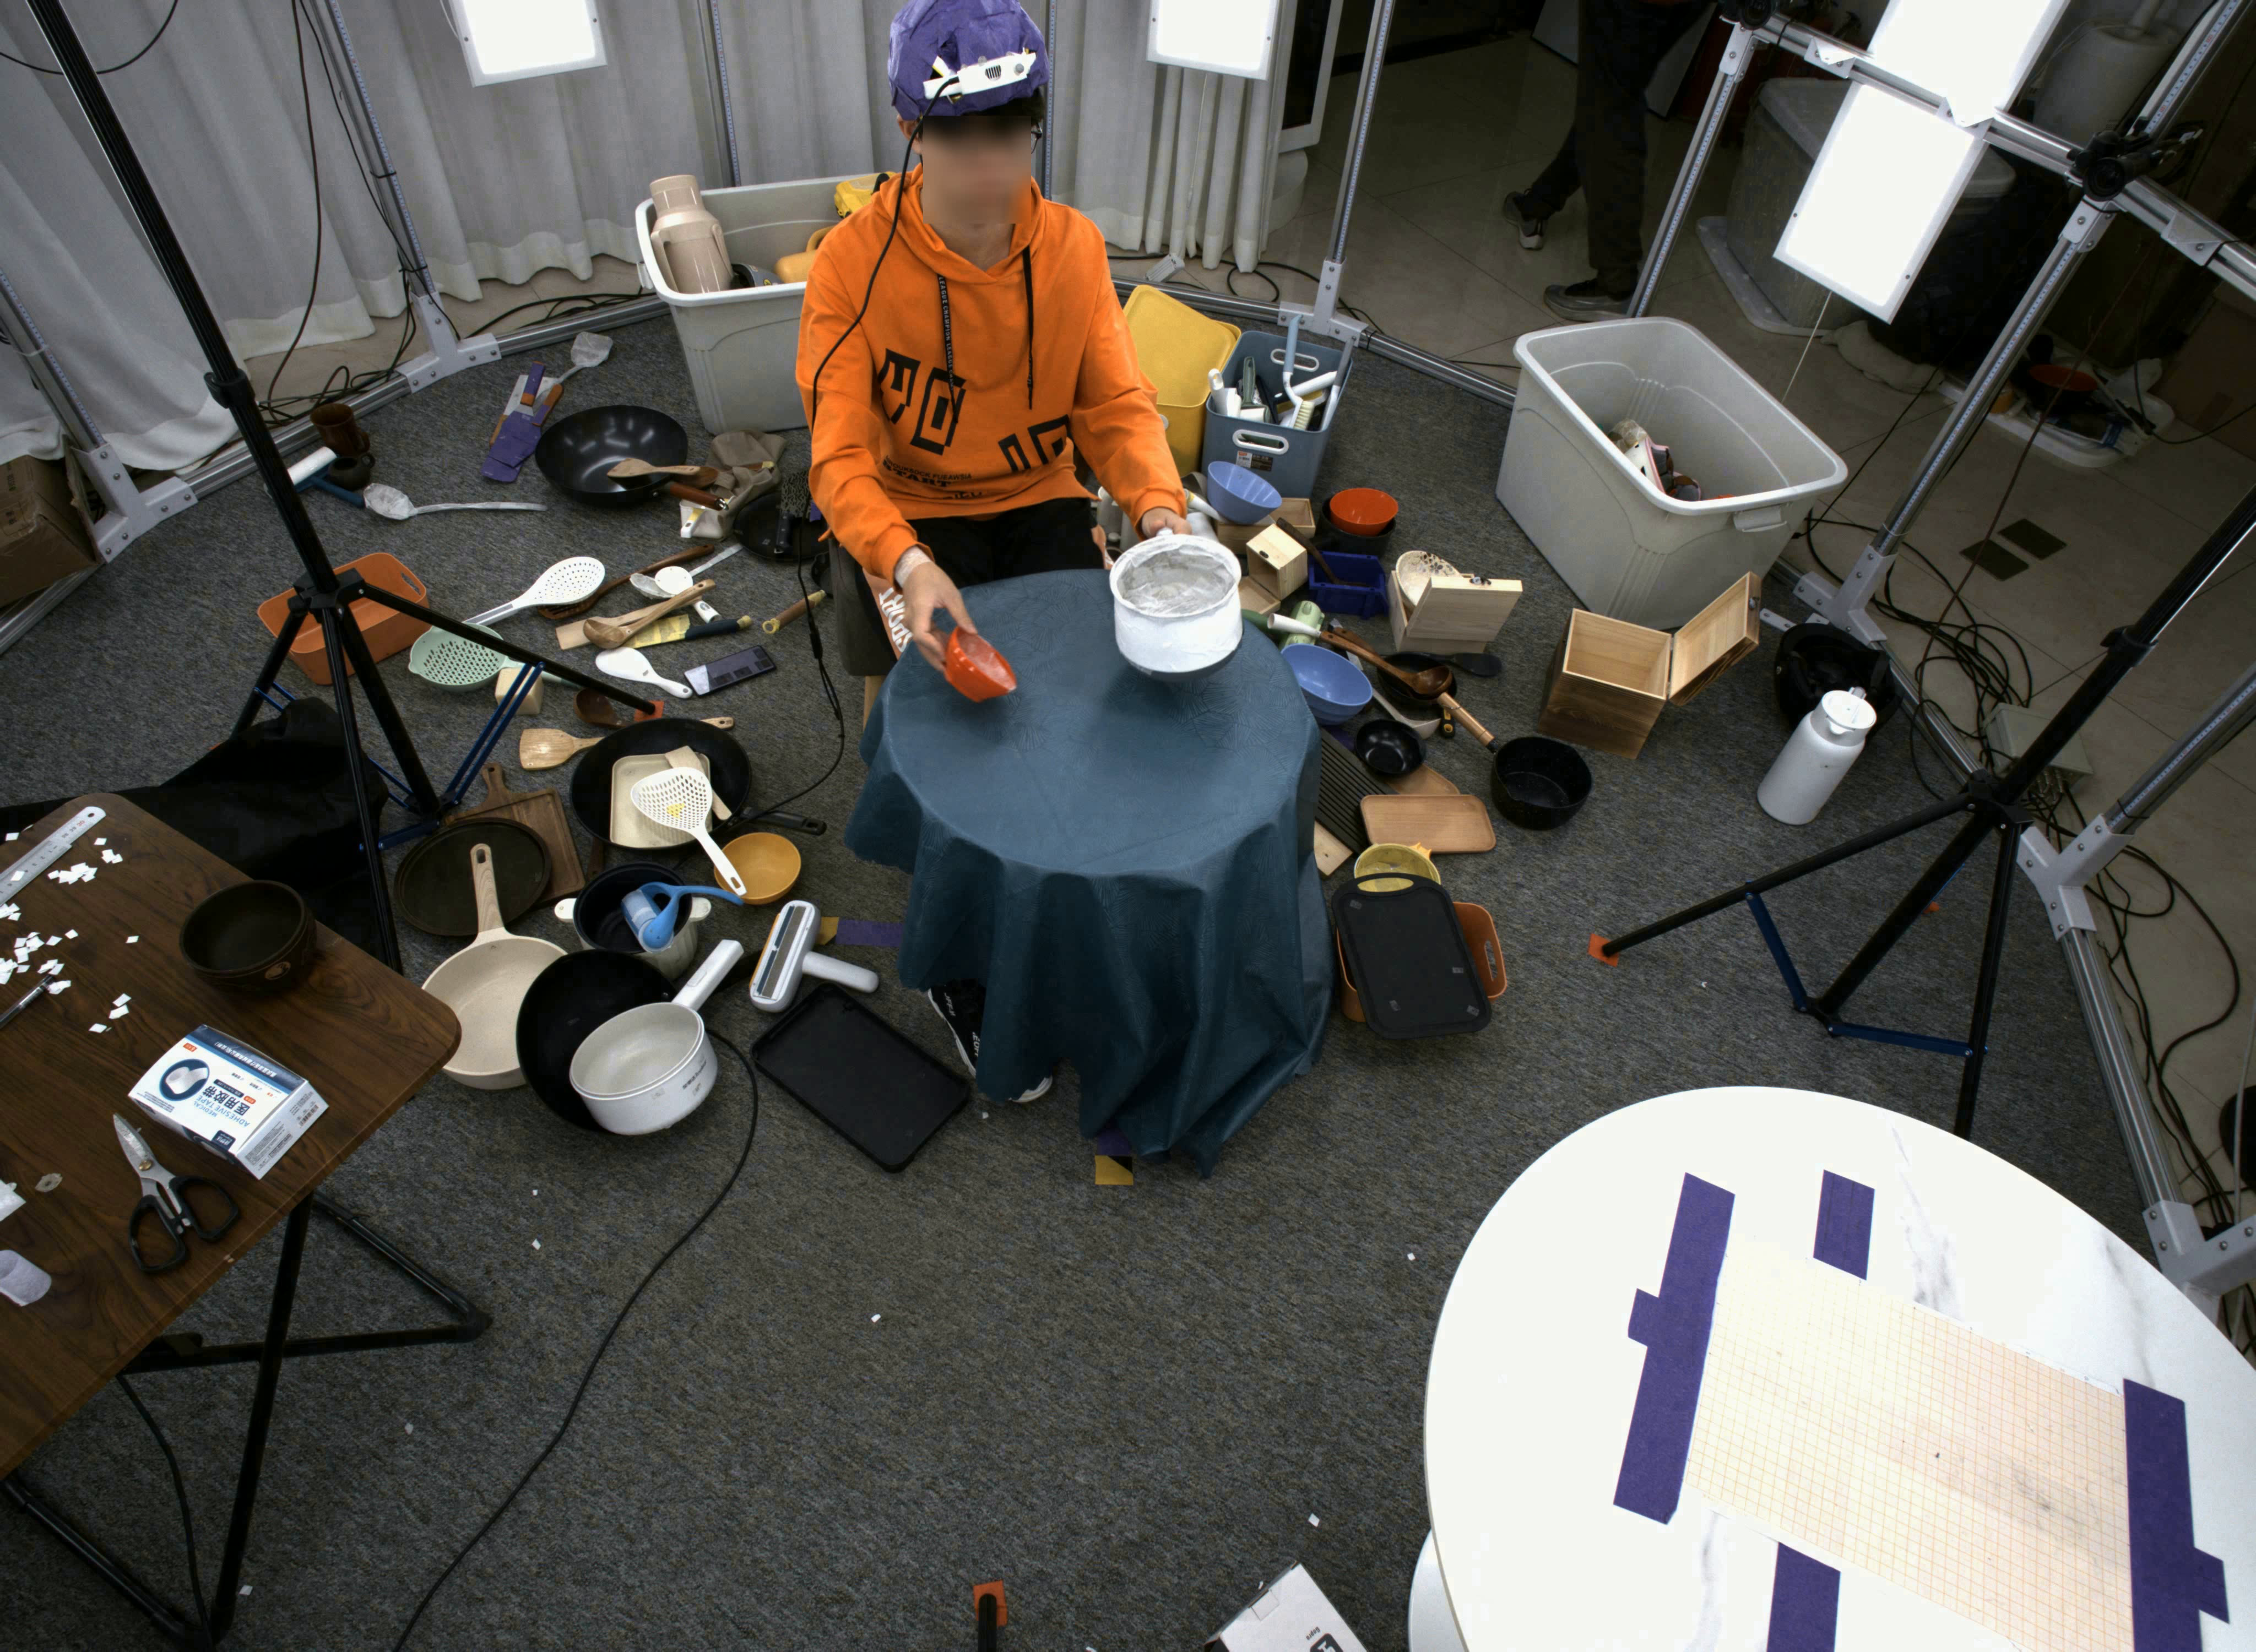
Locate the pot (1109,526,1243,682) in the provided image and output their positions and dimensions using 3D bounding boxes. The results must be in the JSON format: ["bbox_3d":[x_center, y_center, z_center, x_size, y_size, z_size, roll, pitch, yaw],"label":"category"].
[{"bbox_3d":[0.065,-0.316,1.780,0.178,0.133,0.240,-9,47,-2],"label":"pot"}]

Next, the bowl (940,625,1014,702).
[{"bbox_3d":[-0.214,-0.214,1.749,0.117,0.051,0.121,40,21,-18],"label":"bowl"}]
